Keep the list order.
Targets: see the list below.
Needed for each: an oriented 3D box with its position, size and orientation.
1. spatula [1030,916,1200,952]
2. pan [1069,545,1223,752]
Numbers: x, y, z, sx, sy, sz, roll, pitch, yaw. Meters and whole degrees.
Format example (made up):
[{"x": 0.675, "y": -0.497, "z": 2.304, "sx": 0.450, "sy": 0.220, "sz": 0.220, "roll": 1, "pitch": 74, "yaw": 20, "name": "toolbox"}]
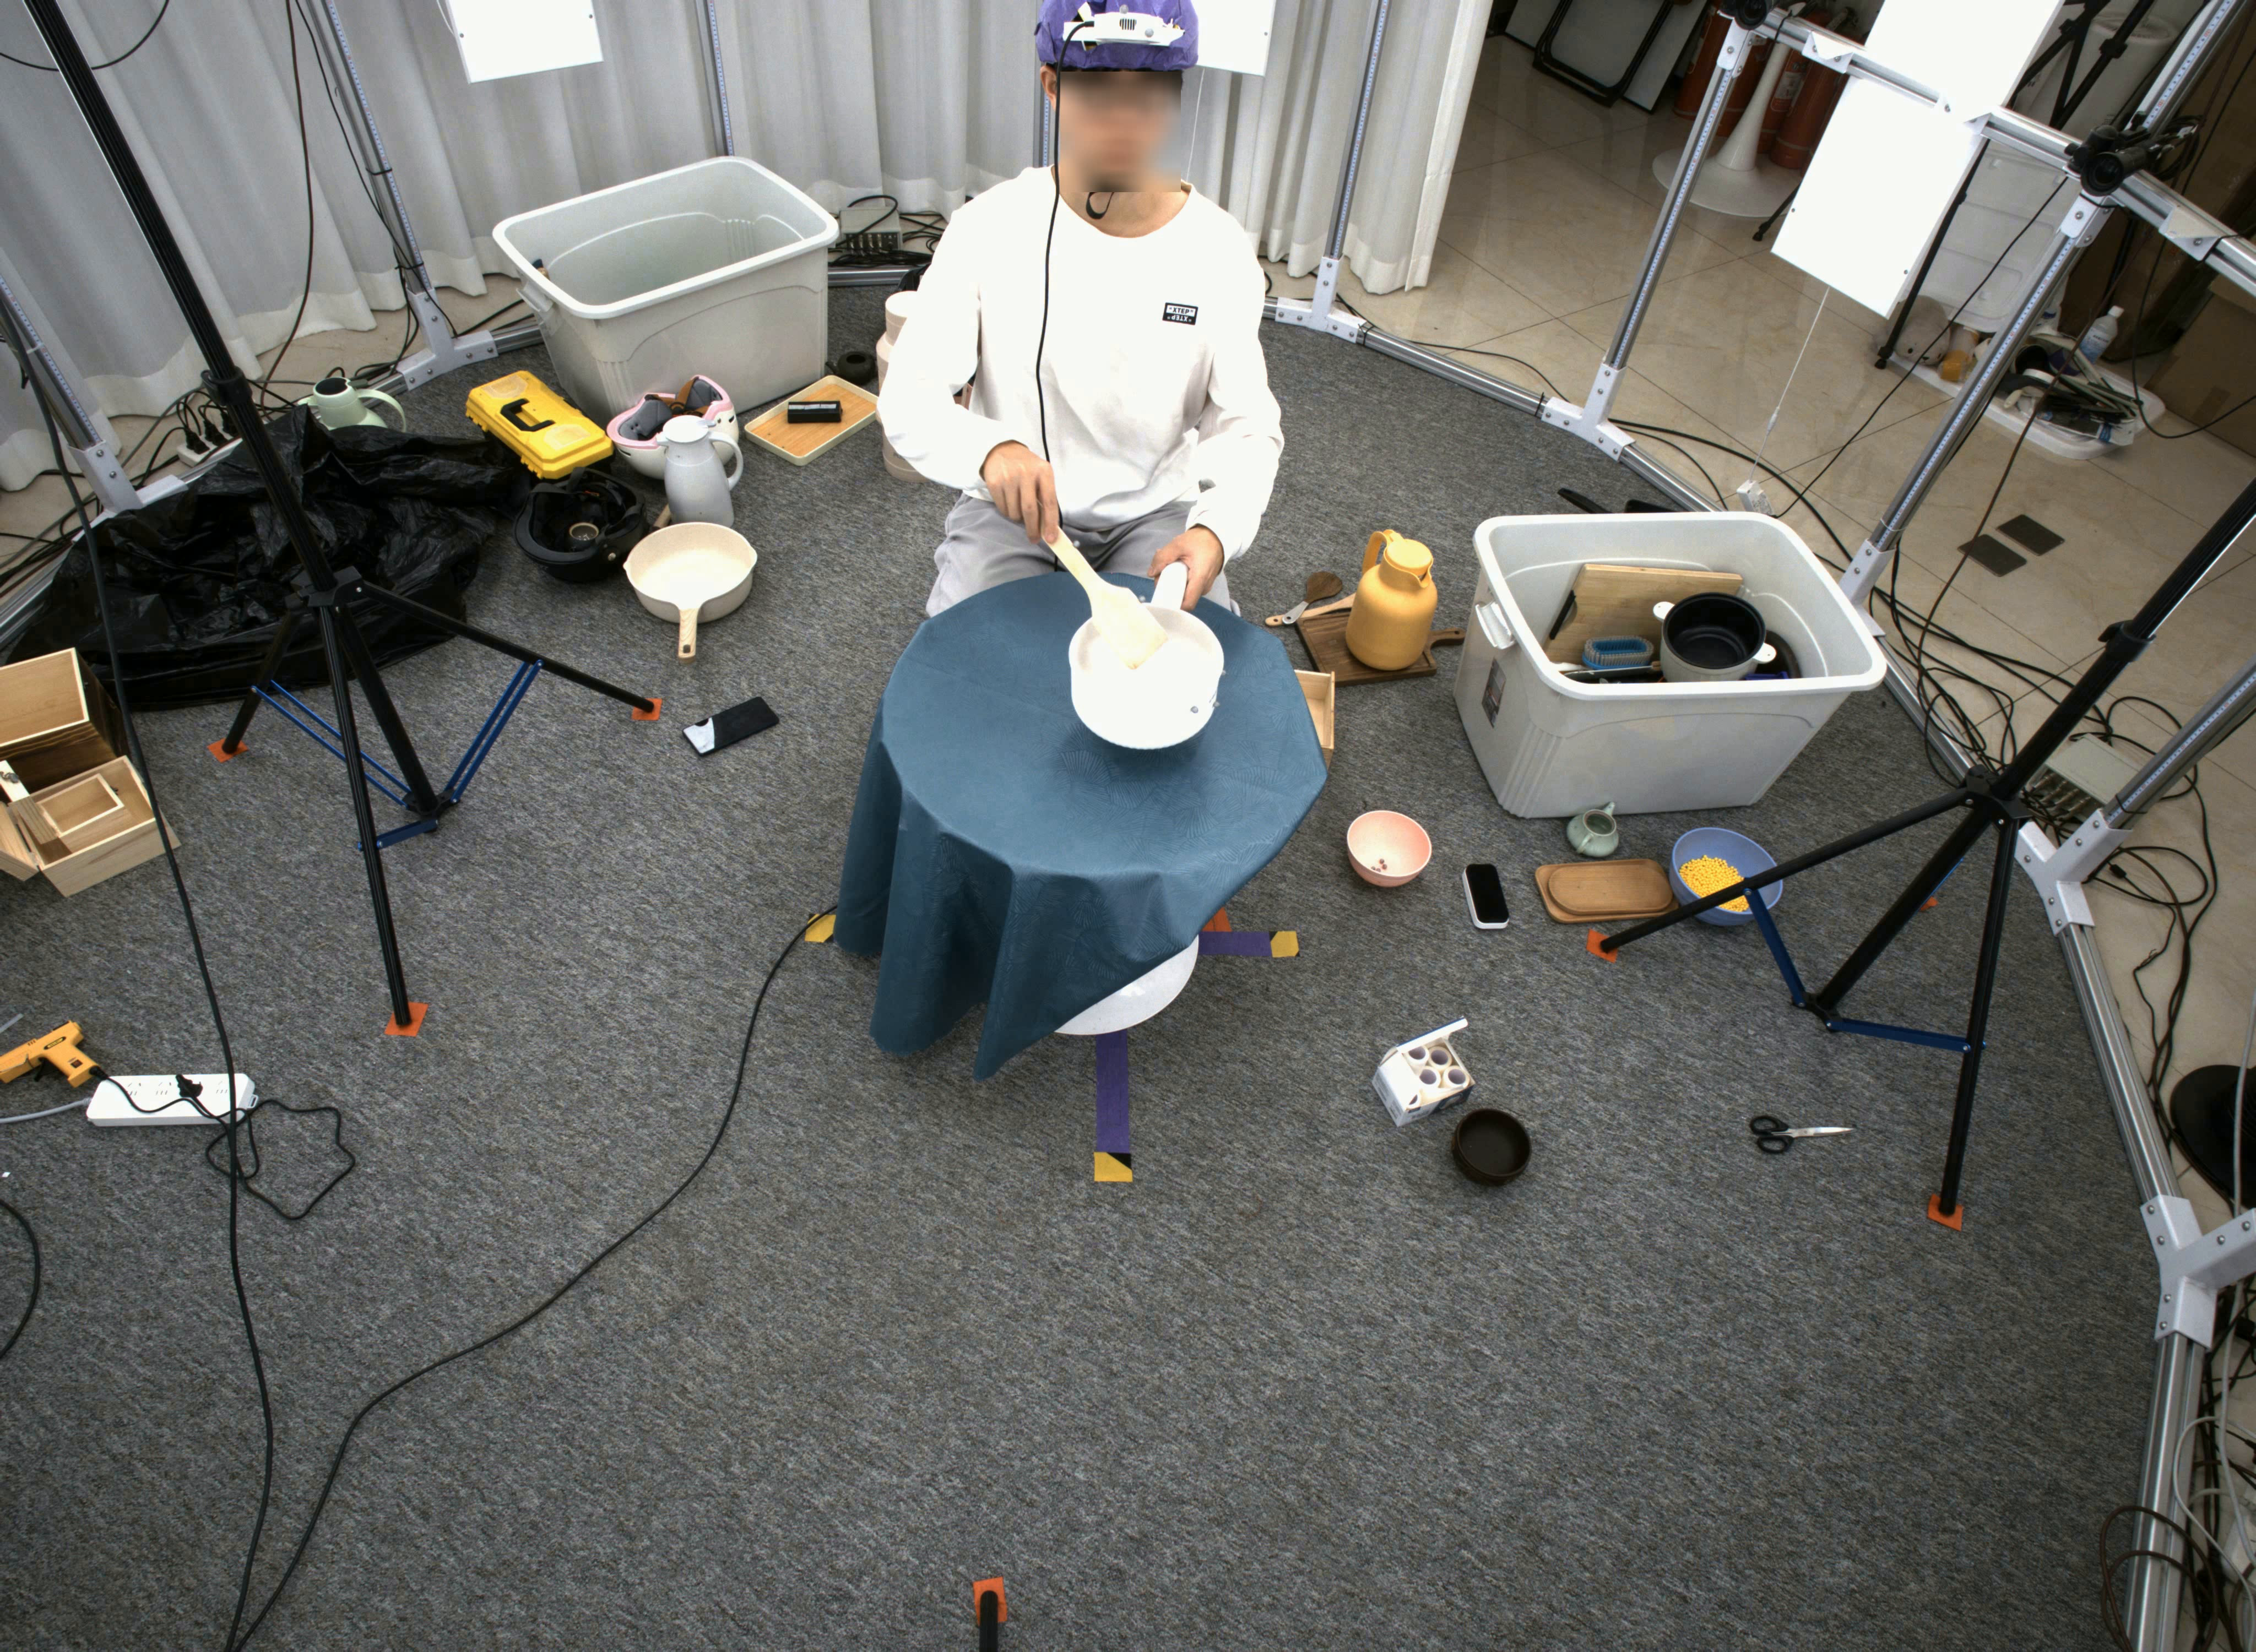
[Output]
[{"x": -0.021, "y": 0.189, "z": 2.205, "sx": 0.293, "sy": 0.010, "sz": 0.074, "roll": 3, "pitch": 47, "yaw": -2, "name": "spatula"}, {"x": 0.042, "y": -0.245, "z": 1.761, "sx": 0.202, "sy": 0.099, "sz": 0.363, "roll": 9, "pitch": 47, "yaw": 10, "name": "pan"}]
